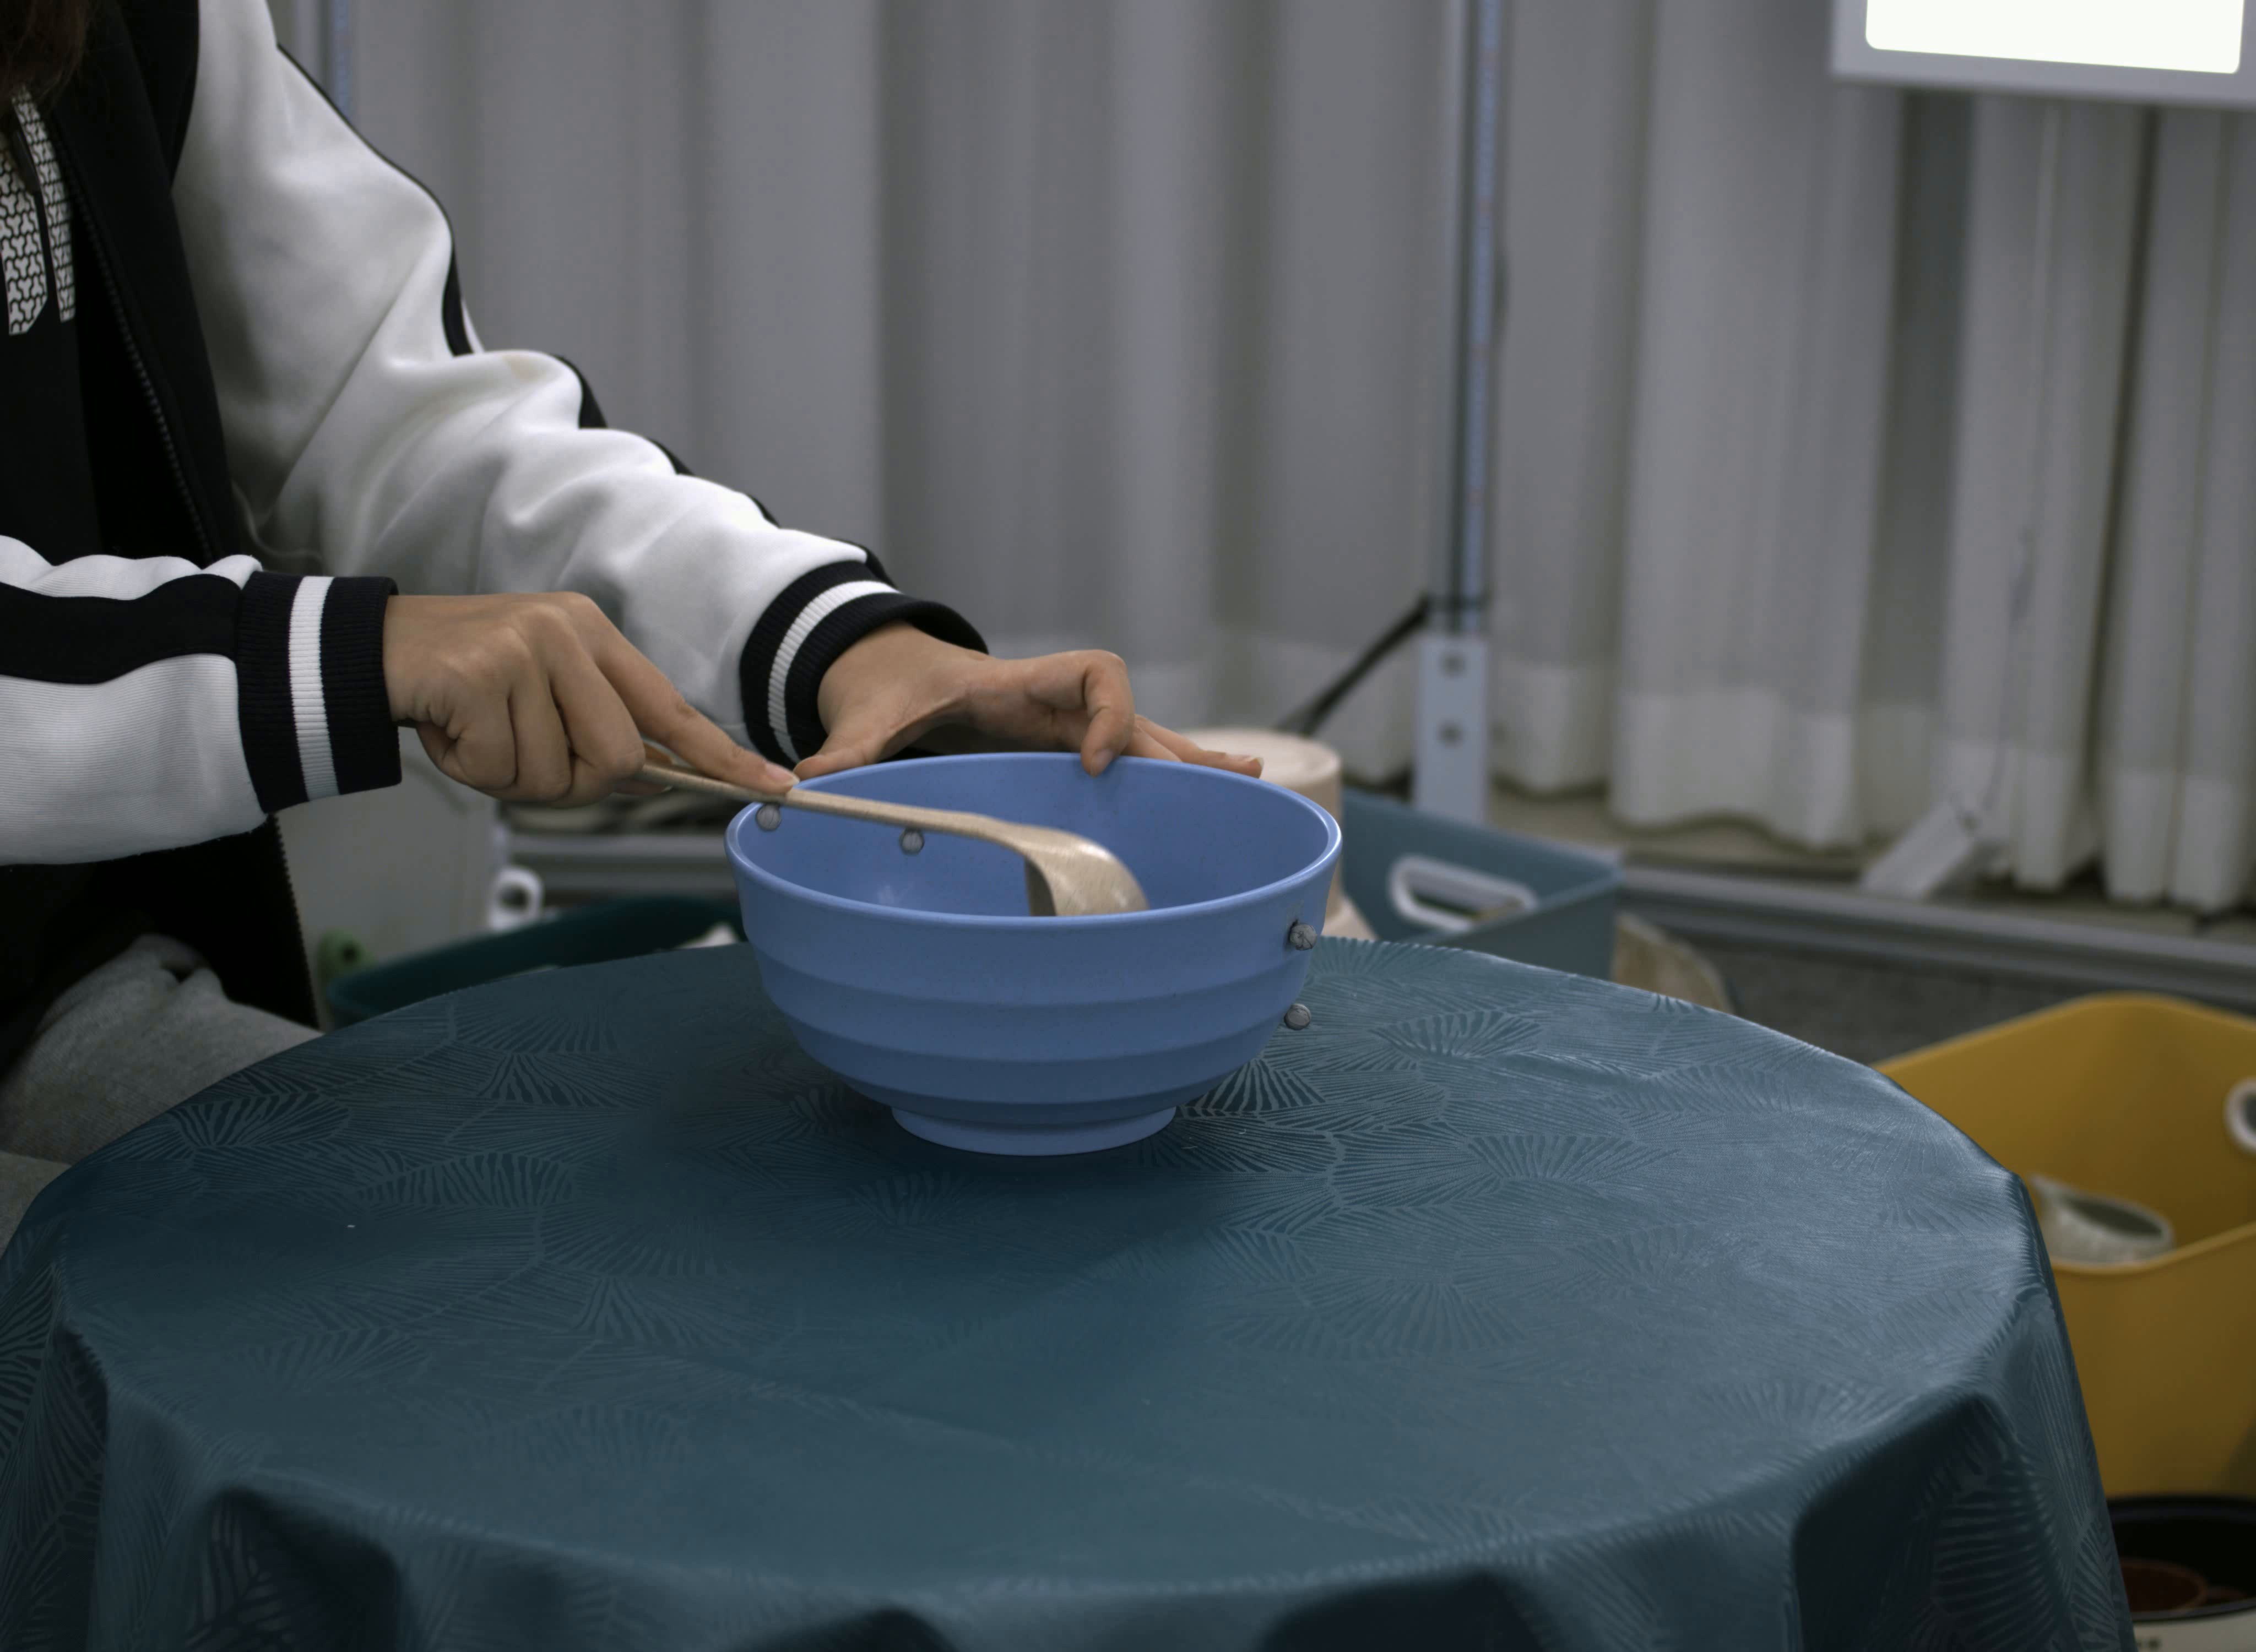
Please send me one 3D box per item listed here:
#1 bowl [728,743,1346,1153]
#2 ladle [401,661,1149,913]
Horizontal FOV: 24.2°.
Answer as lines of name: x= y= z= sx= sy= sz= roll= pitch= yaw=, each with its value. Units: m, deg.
bowl: x=-0.031 y=0.045 z=1.681 sx=0.196 sy=0.096 sz=0.195 roll=3 pitch=16 yaw=0
ladle: x=-0.116 y=0.016 z=1.661 sx=0.255 sy=0.073 sz=0.071 roll=15 pitch=14 yaw=-14
